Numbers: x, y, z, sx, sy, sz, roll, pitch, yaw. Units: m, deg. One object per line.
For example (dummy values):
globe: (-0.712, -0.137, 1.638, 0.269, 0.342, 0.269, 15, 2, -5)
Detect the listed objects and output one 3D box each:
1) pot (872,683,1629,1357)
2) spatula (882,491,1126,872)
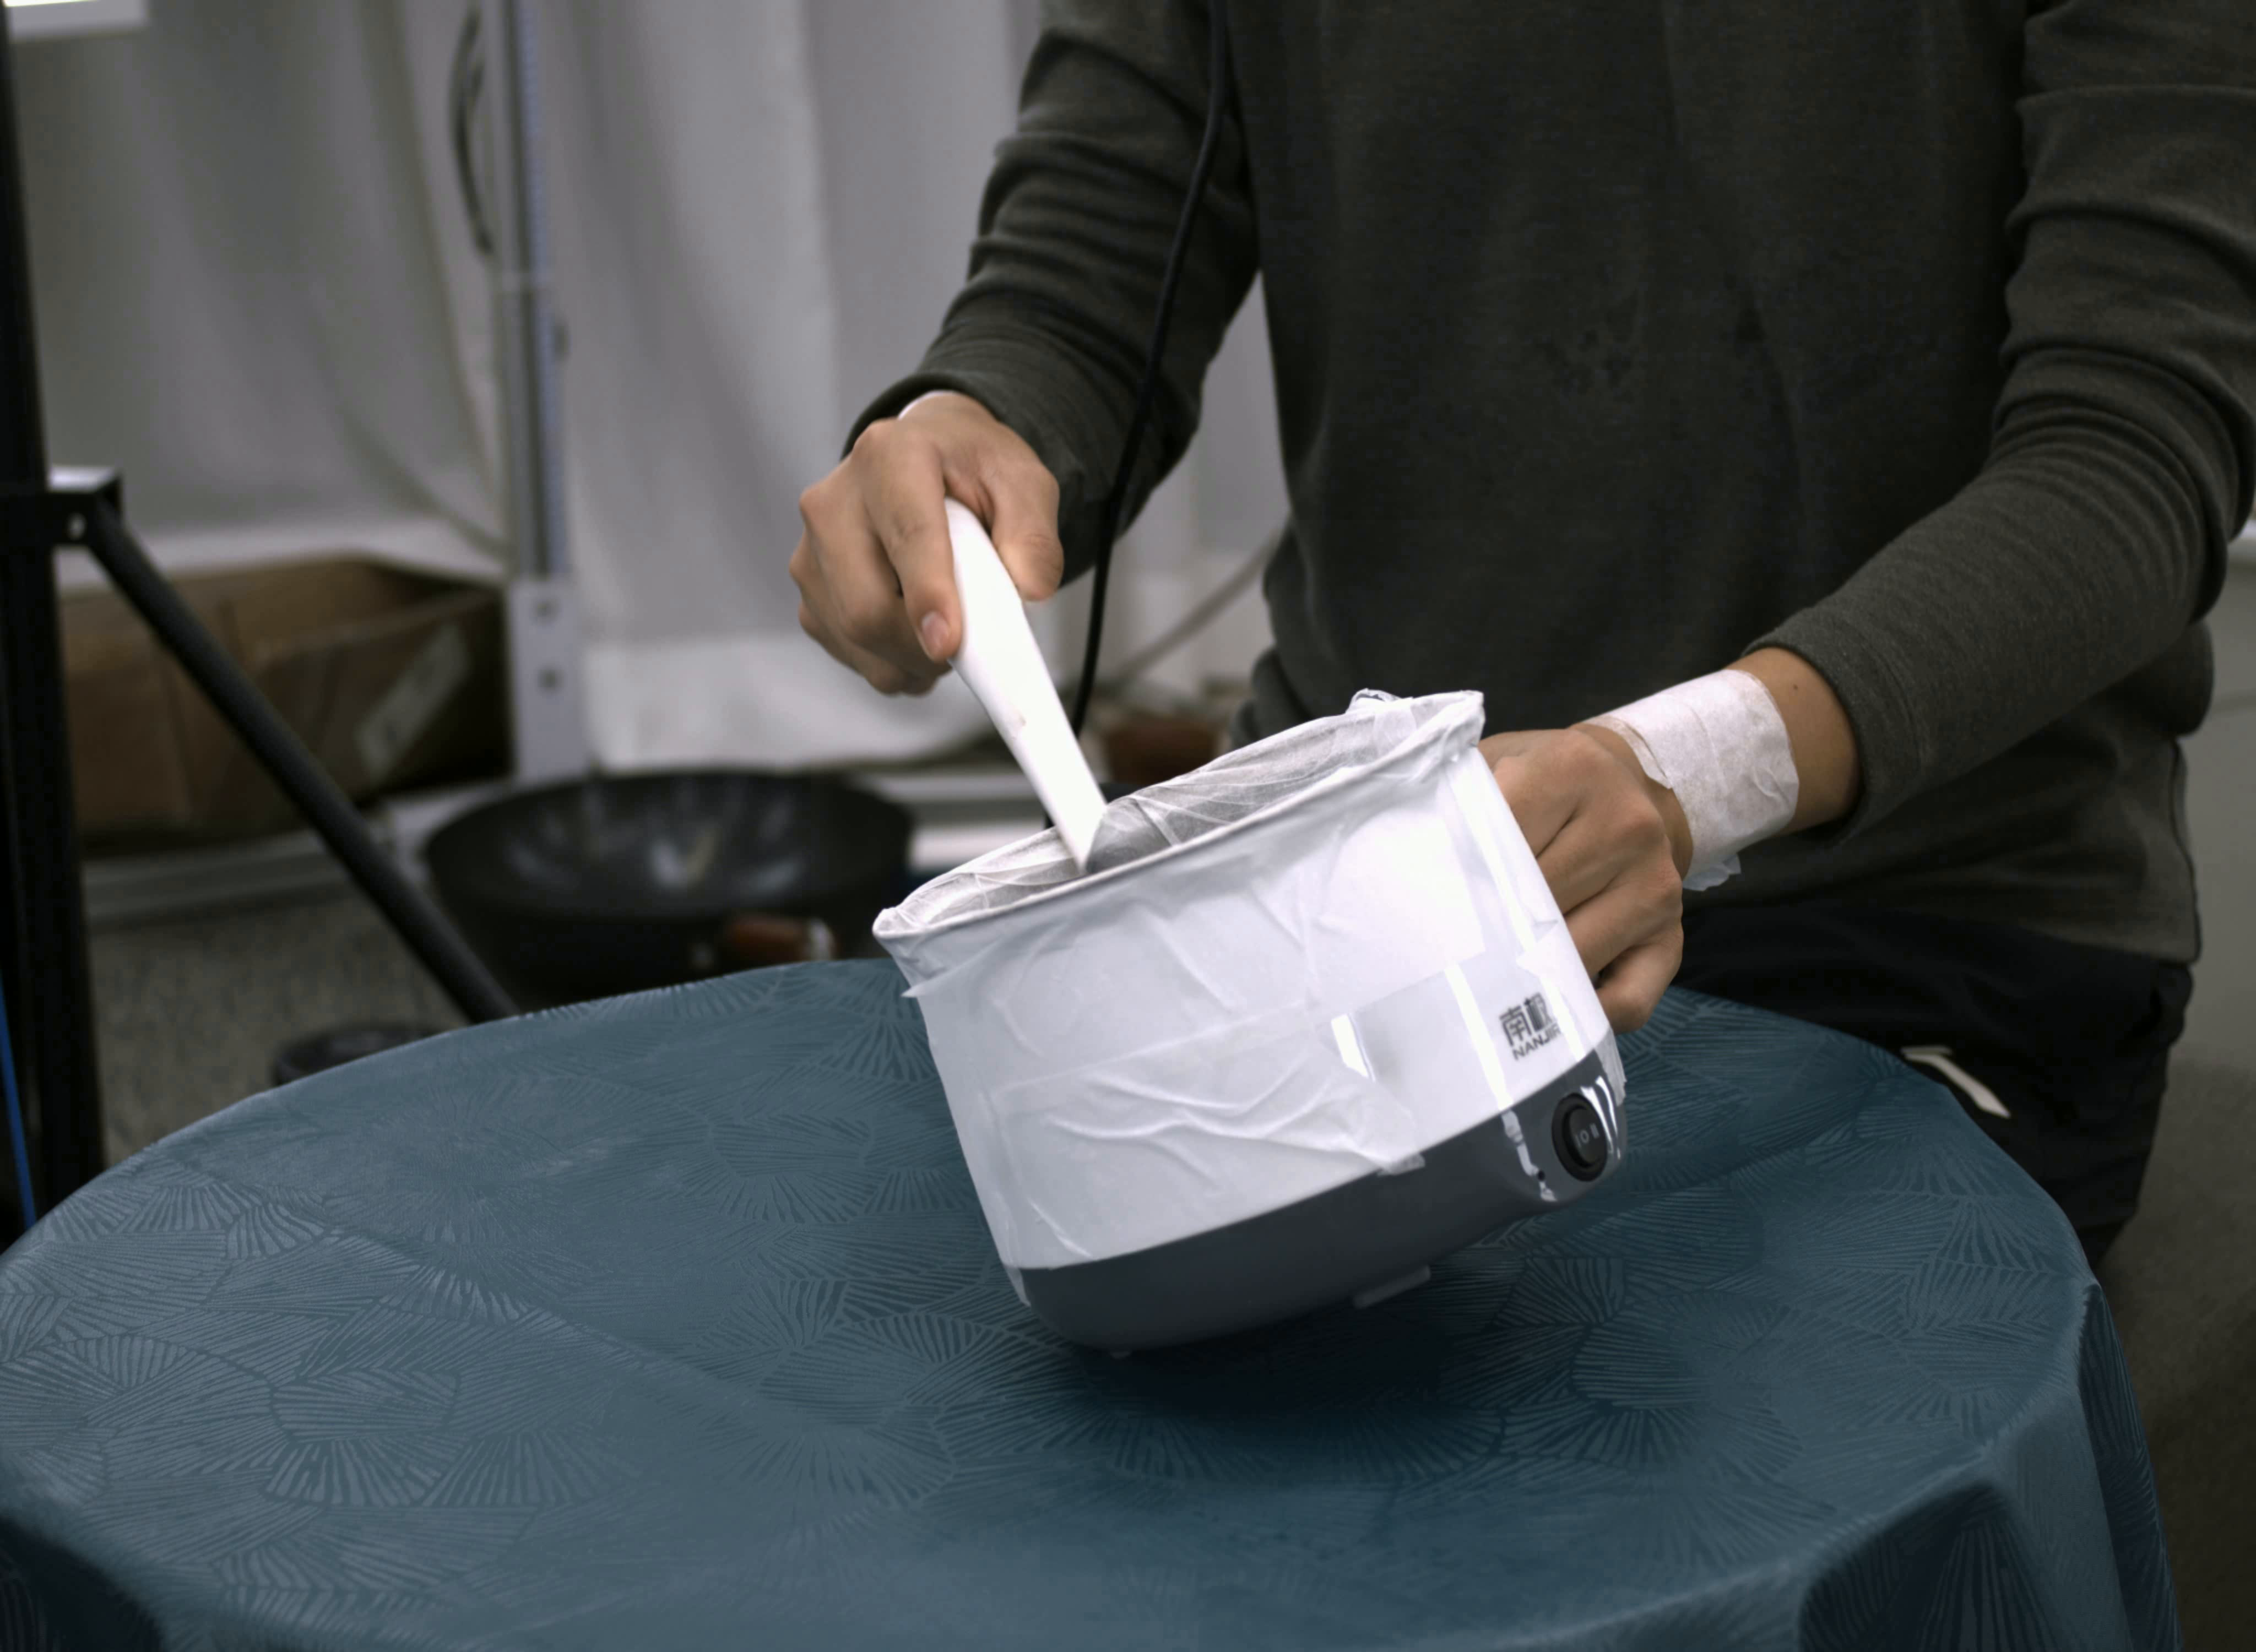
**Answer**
pot: (0.051, 0.046, 1.452, 0.182, 0.137, 0.229, -17, 6, 39)
spatula: (-0.021, -0.017, 1.508, 0.058, 0.032, 0.292, -17, 33, -7)
